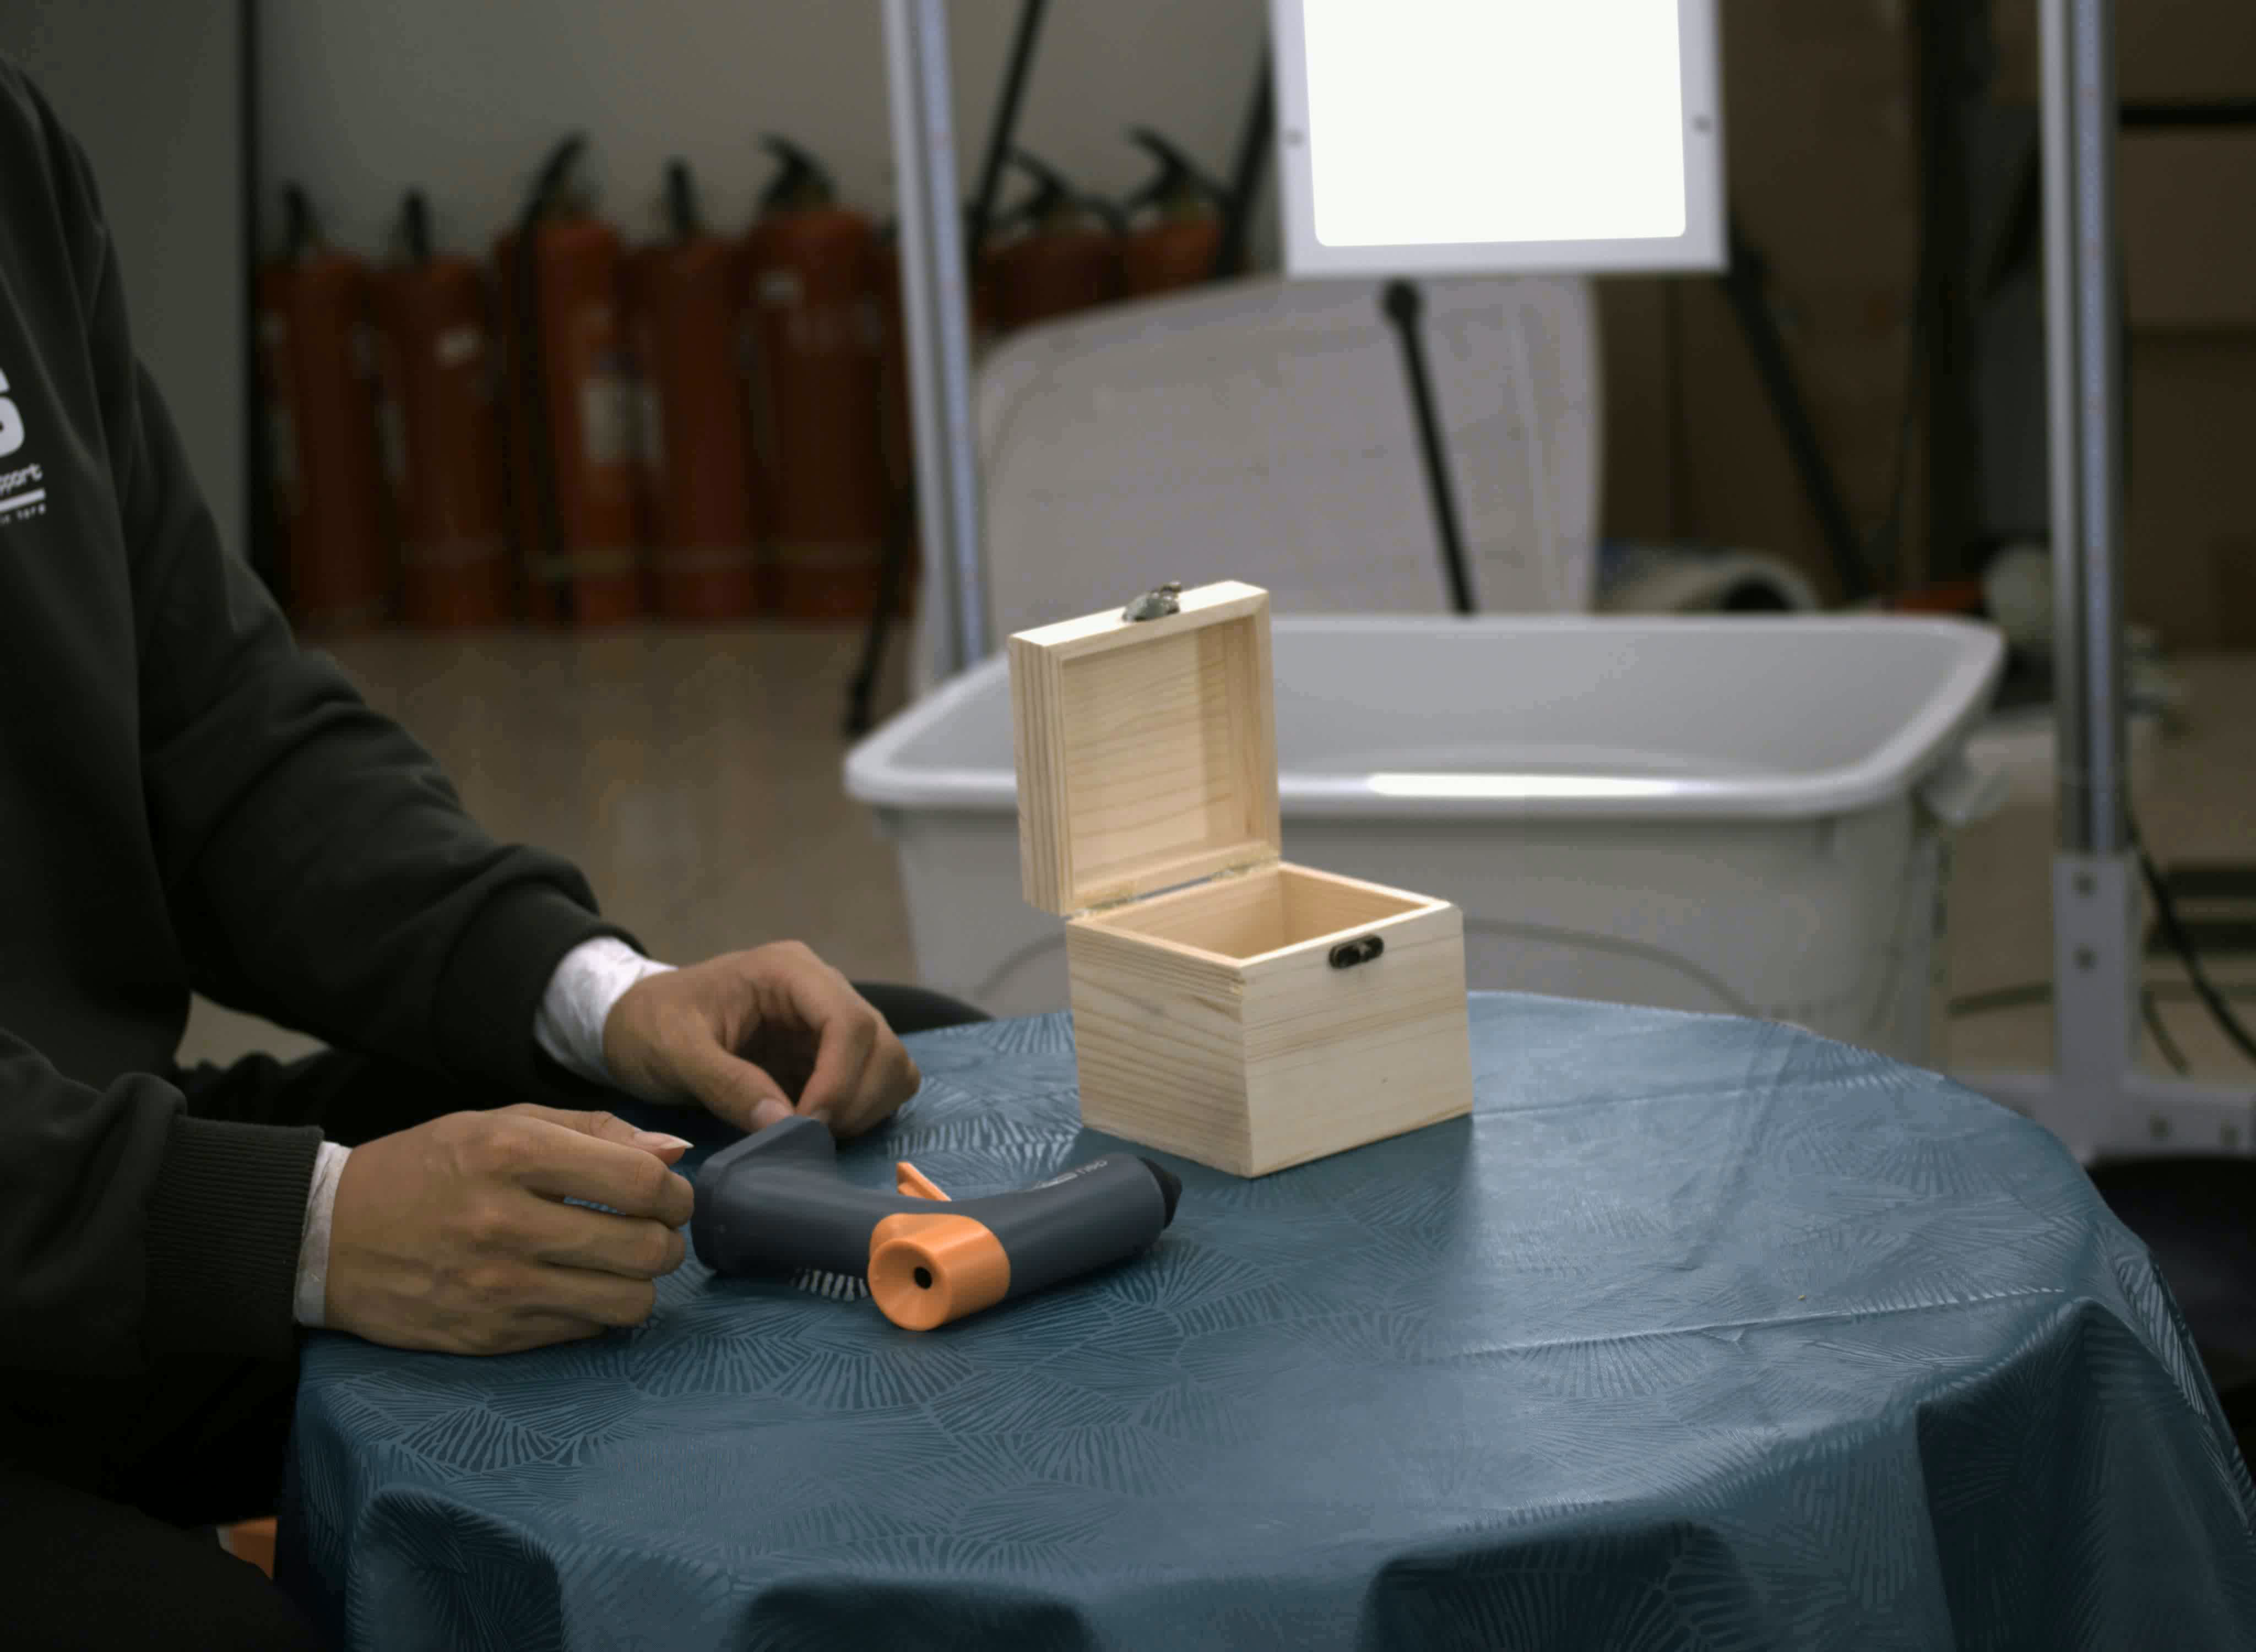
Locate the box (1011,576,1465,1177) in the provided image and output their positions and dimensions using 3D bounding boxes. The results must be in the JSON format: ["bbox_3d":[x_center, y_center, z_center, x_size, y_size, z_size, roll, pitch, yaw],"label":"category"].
[{"bbox_3d":[0.041,0.014,1.950,0.100,0.185,0.136,-14,17,-35],"label":"box"}]

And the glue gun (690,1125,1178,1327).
[{"bbox_3d":[-0.065,0.131,1.835,0.142,0.041,0.115,6,15,31],"label":"glue gun"}]
